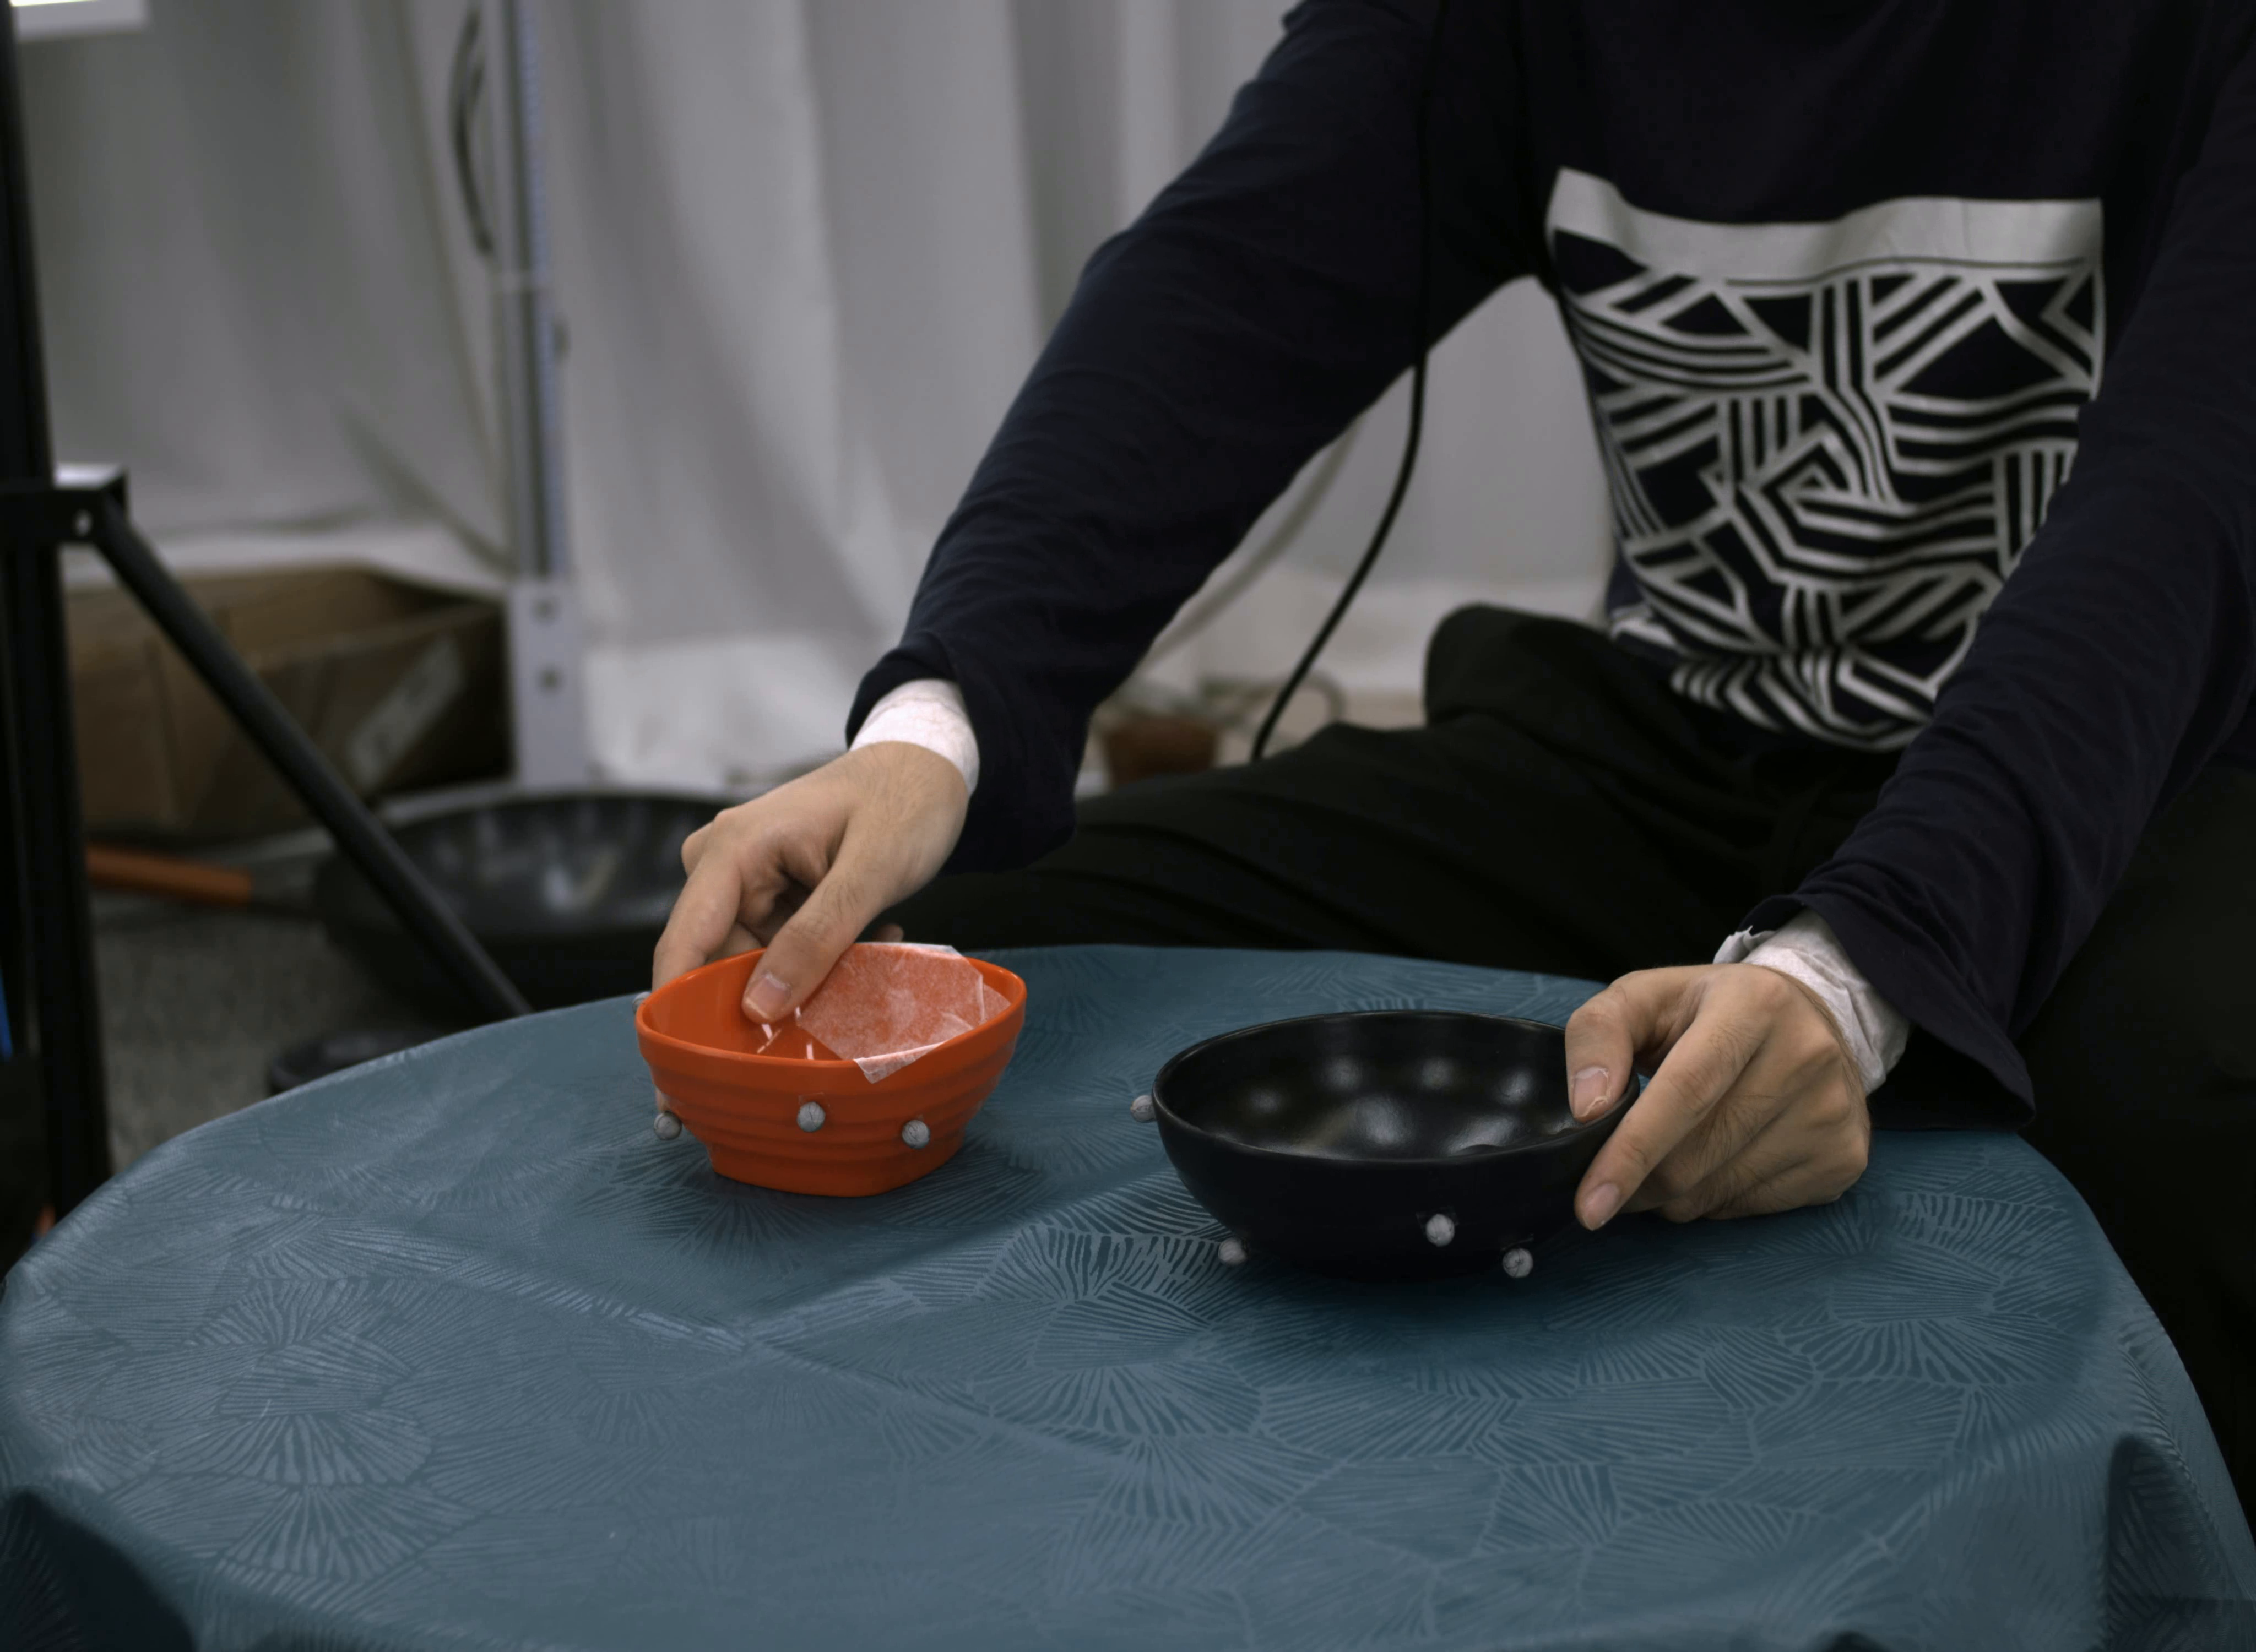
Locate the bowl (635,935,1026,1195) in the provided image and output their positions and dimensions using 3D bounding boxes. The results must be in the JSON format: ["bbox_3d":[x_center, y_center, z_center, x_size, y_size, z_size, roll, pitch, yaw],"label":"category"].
[{"bbox_3d":[-0.087,0.074,1.598,0.118,0.051,0.119,-4,17,0],"label":"bowl"}]

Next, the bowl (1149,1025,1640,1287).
[{"bbox_3d":[0.075,0.098,1.504,0.139,0.050,0.140,-1,12,-1],"label":"bowl"}]
